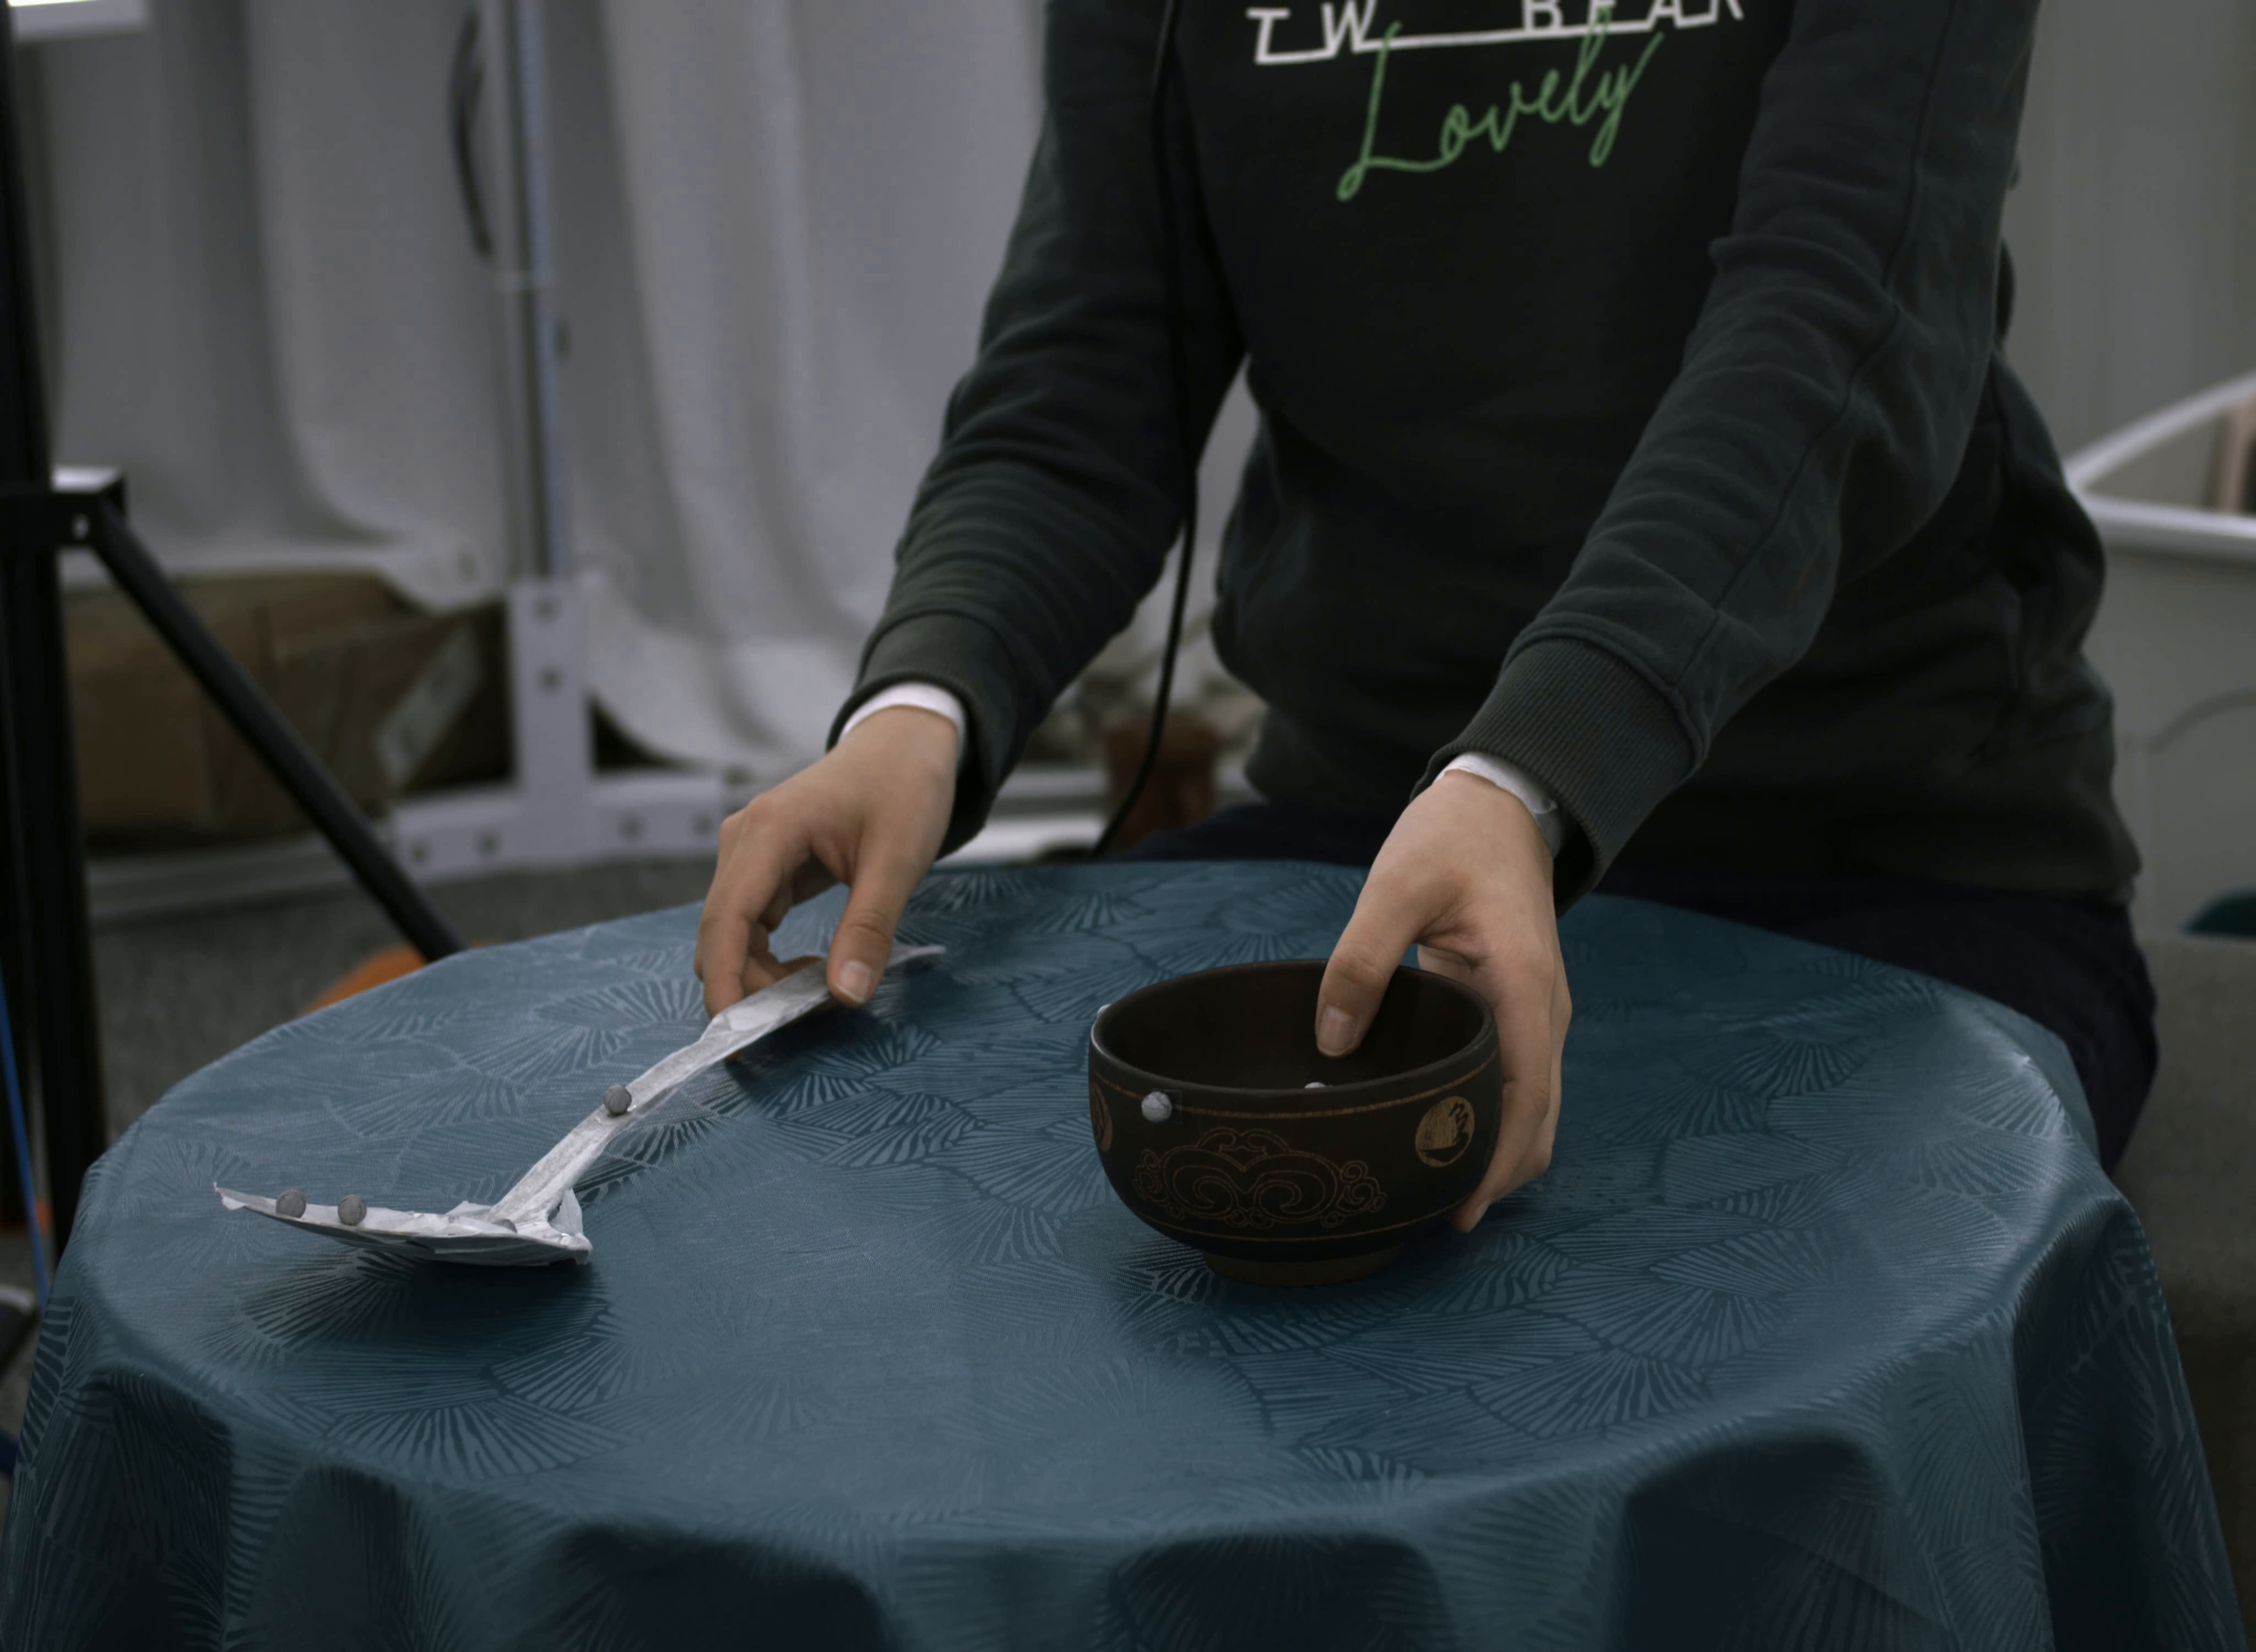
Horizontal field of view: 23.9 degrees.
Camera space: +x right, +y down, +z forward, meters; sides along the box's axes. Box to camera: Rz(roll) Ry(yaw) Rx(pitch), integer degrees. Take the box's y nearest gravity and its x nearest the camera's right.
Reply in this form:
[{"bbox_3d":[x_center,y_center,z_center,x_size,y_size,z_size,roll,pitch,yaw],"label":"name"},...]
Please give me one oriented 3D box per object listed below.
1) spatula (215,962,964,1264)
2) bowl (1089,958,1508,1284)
[{"bbox_3d":[-0.141,0.077,1.617,0.100,0.045,0.359,4,18,25],"label":"spatula"},{"bbox_3d":[0.048,0.087,1.492,0.117,0.070,0.118,-2,16,-1],"label":"bowl"}]
